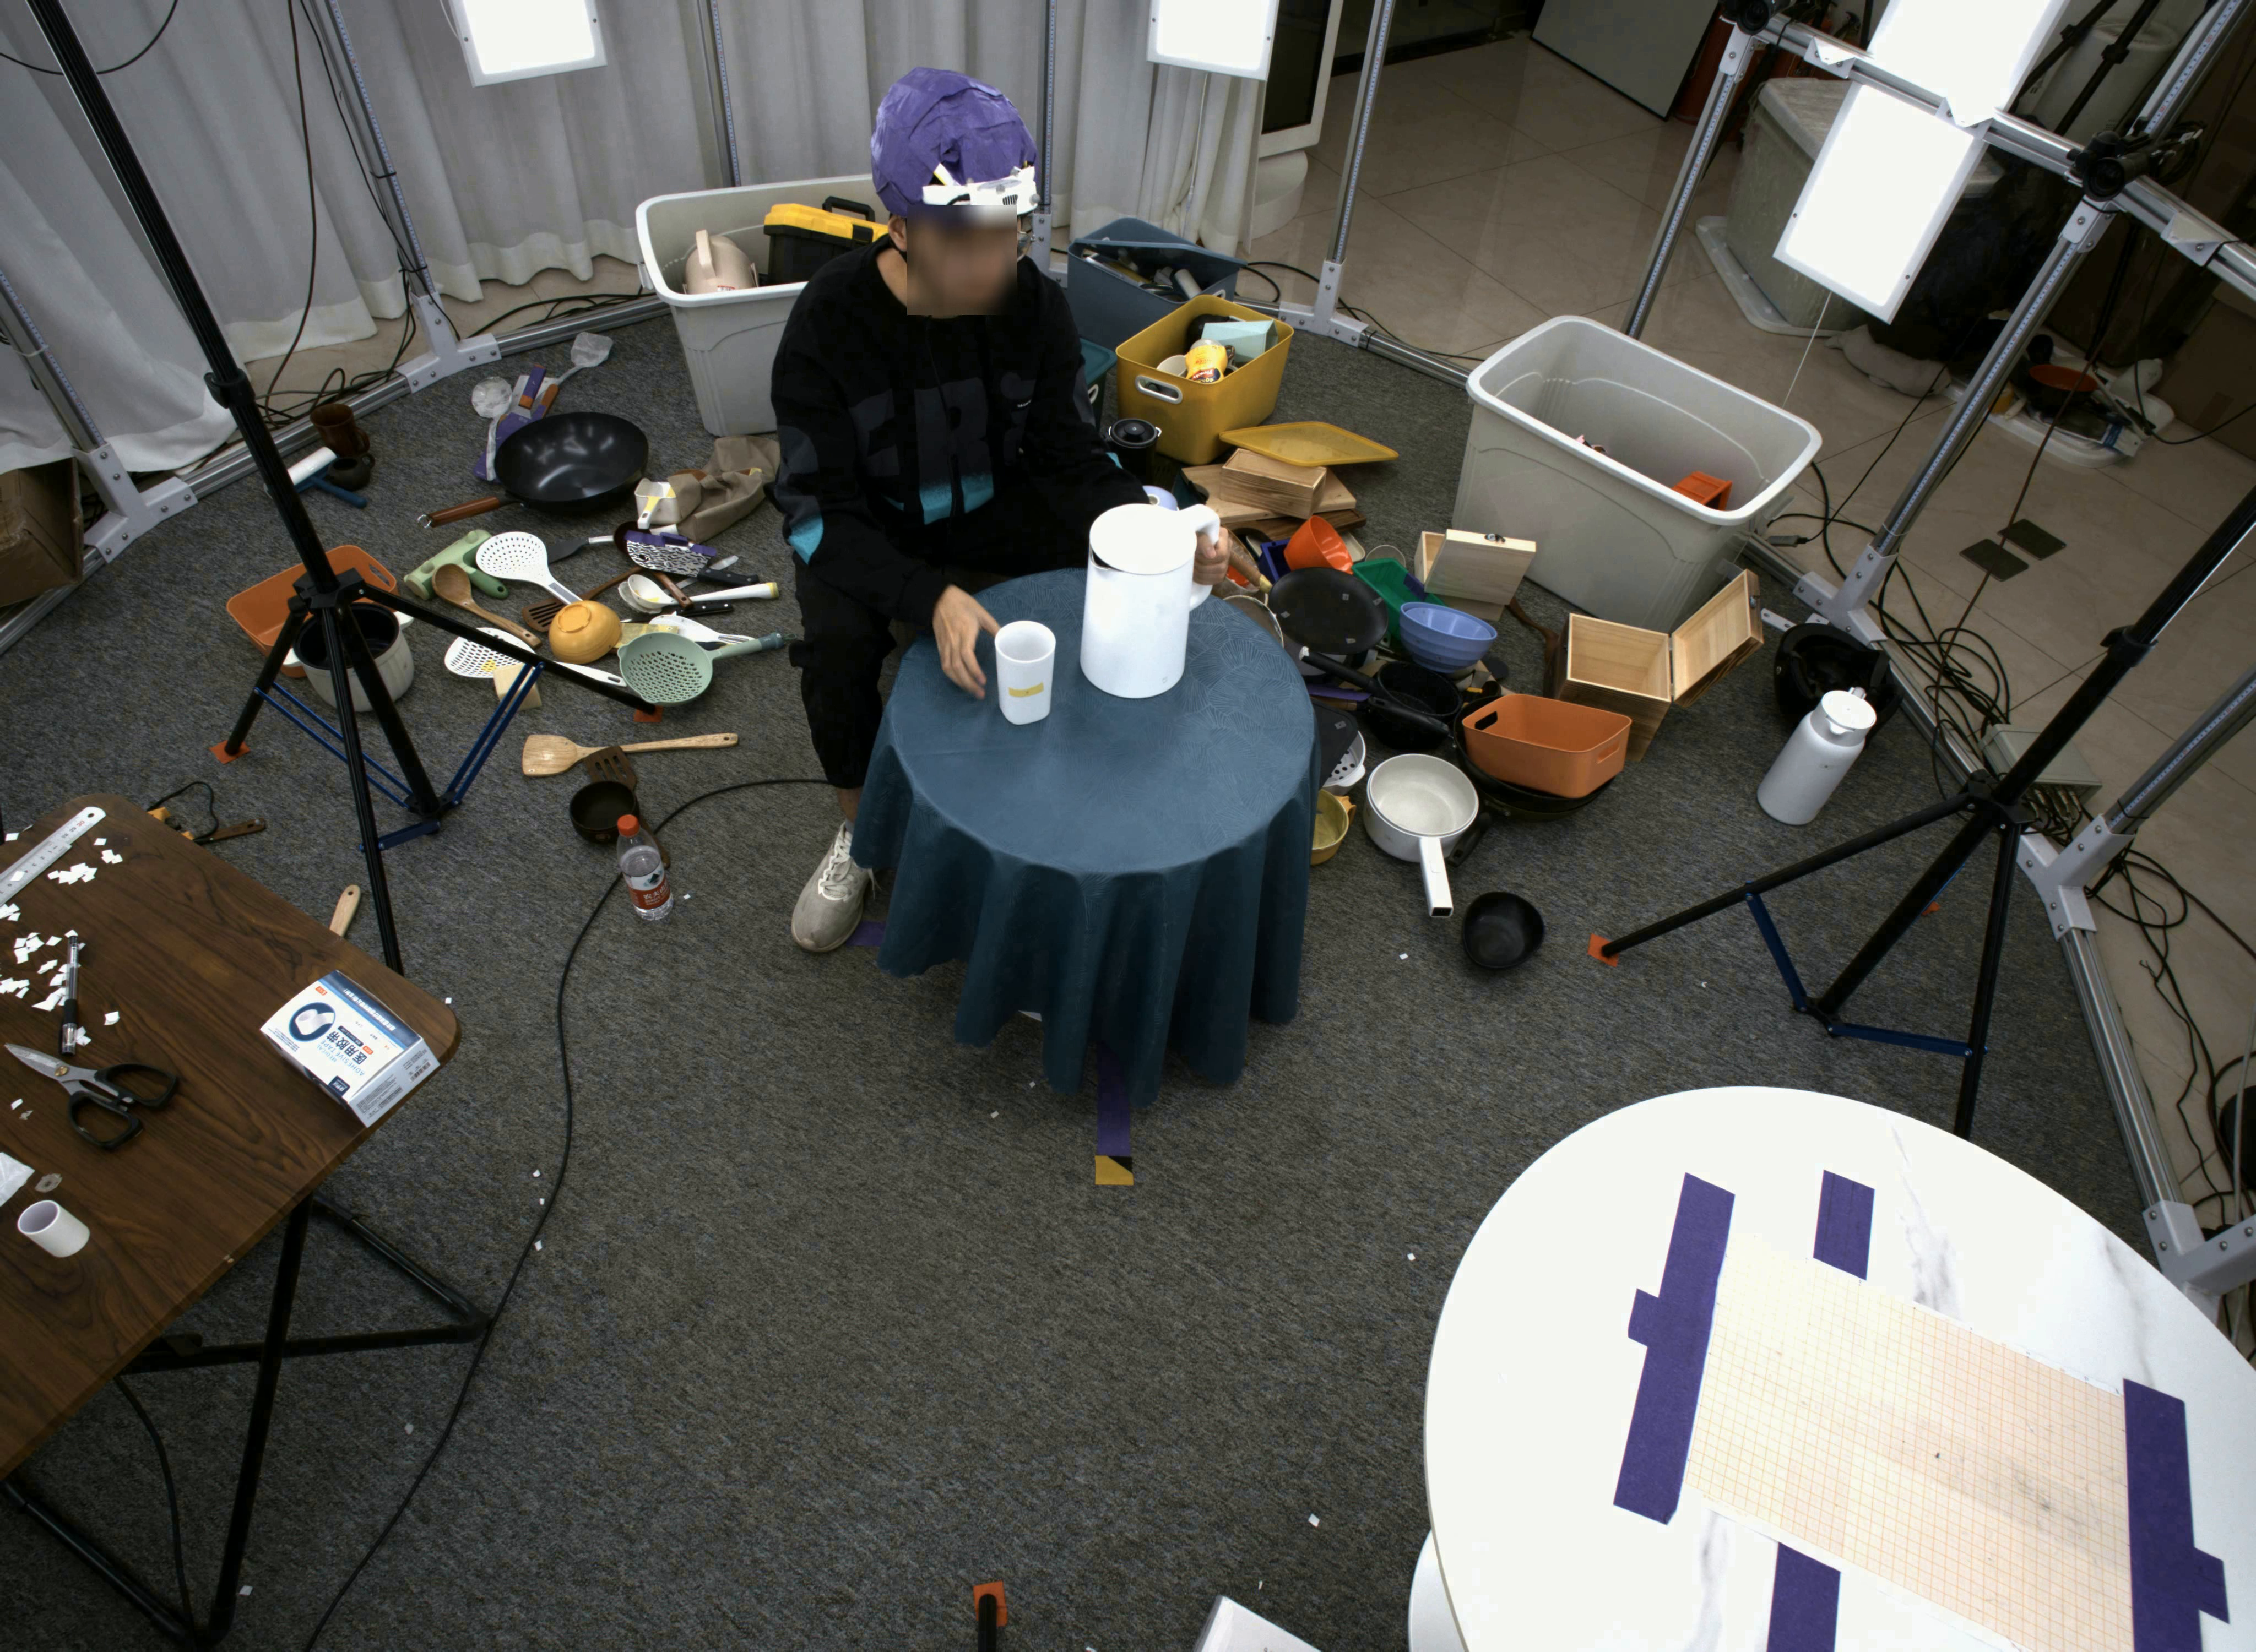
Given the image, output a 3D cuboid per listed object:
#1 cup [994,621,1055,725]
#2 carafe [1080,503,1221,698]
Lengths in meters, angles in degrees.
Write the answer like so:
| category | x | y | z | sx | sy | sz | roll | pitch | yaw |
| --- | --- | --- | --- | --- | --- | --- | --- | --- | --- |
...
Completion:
| category | x | y | z | sx | sy | sz | roll | pitch | yaw |
| --- | --- | --- | --- | --- | --- | --- | --- | --- | --- |
| cup | -0.141 | -0.207 | 1.758 | 0.081 | 0.122 | 0.084 | 2 | 49 | -3 |
| carafe | 0.035 | -0.323 | 1.801 | 0.214 | 0.234 | 0.155 | -29 | 59 | -25 |
